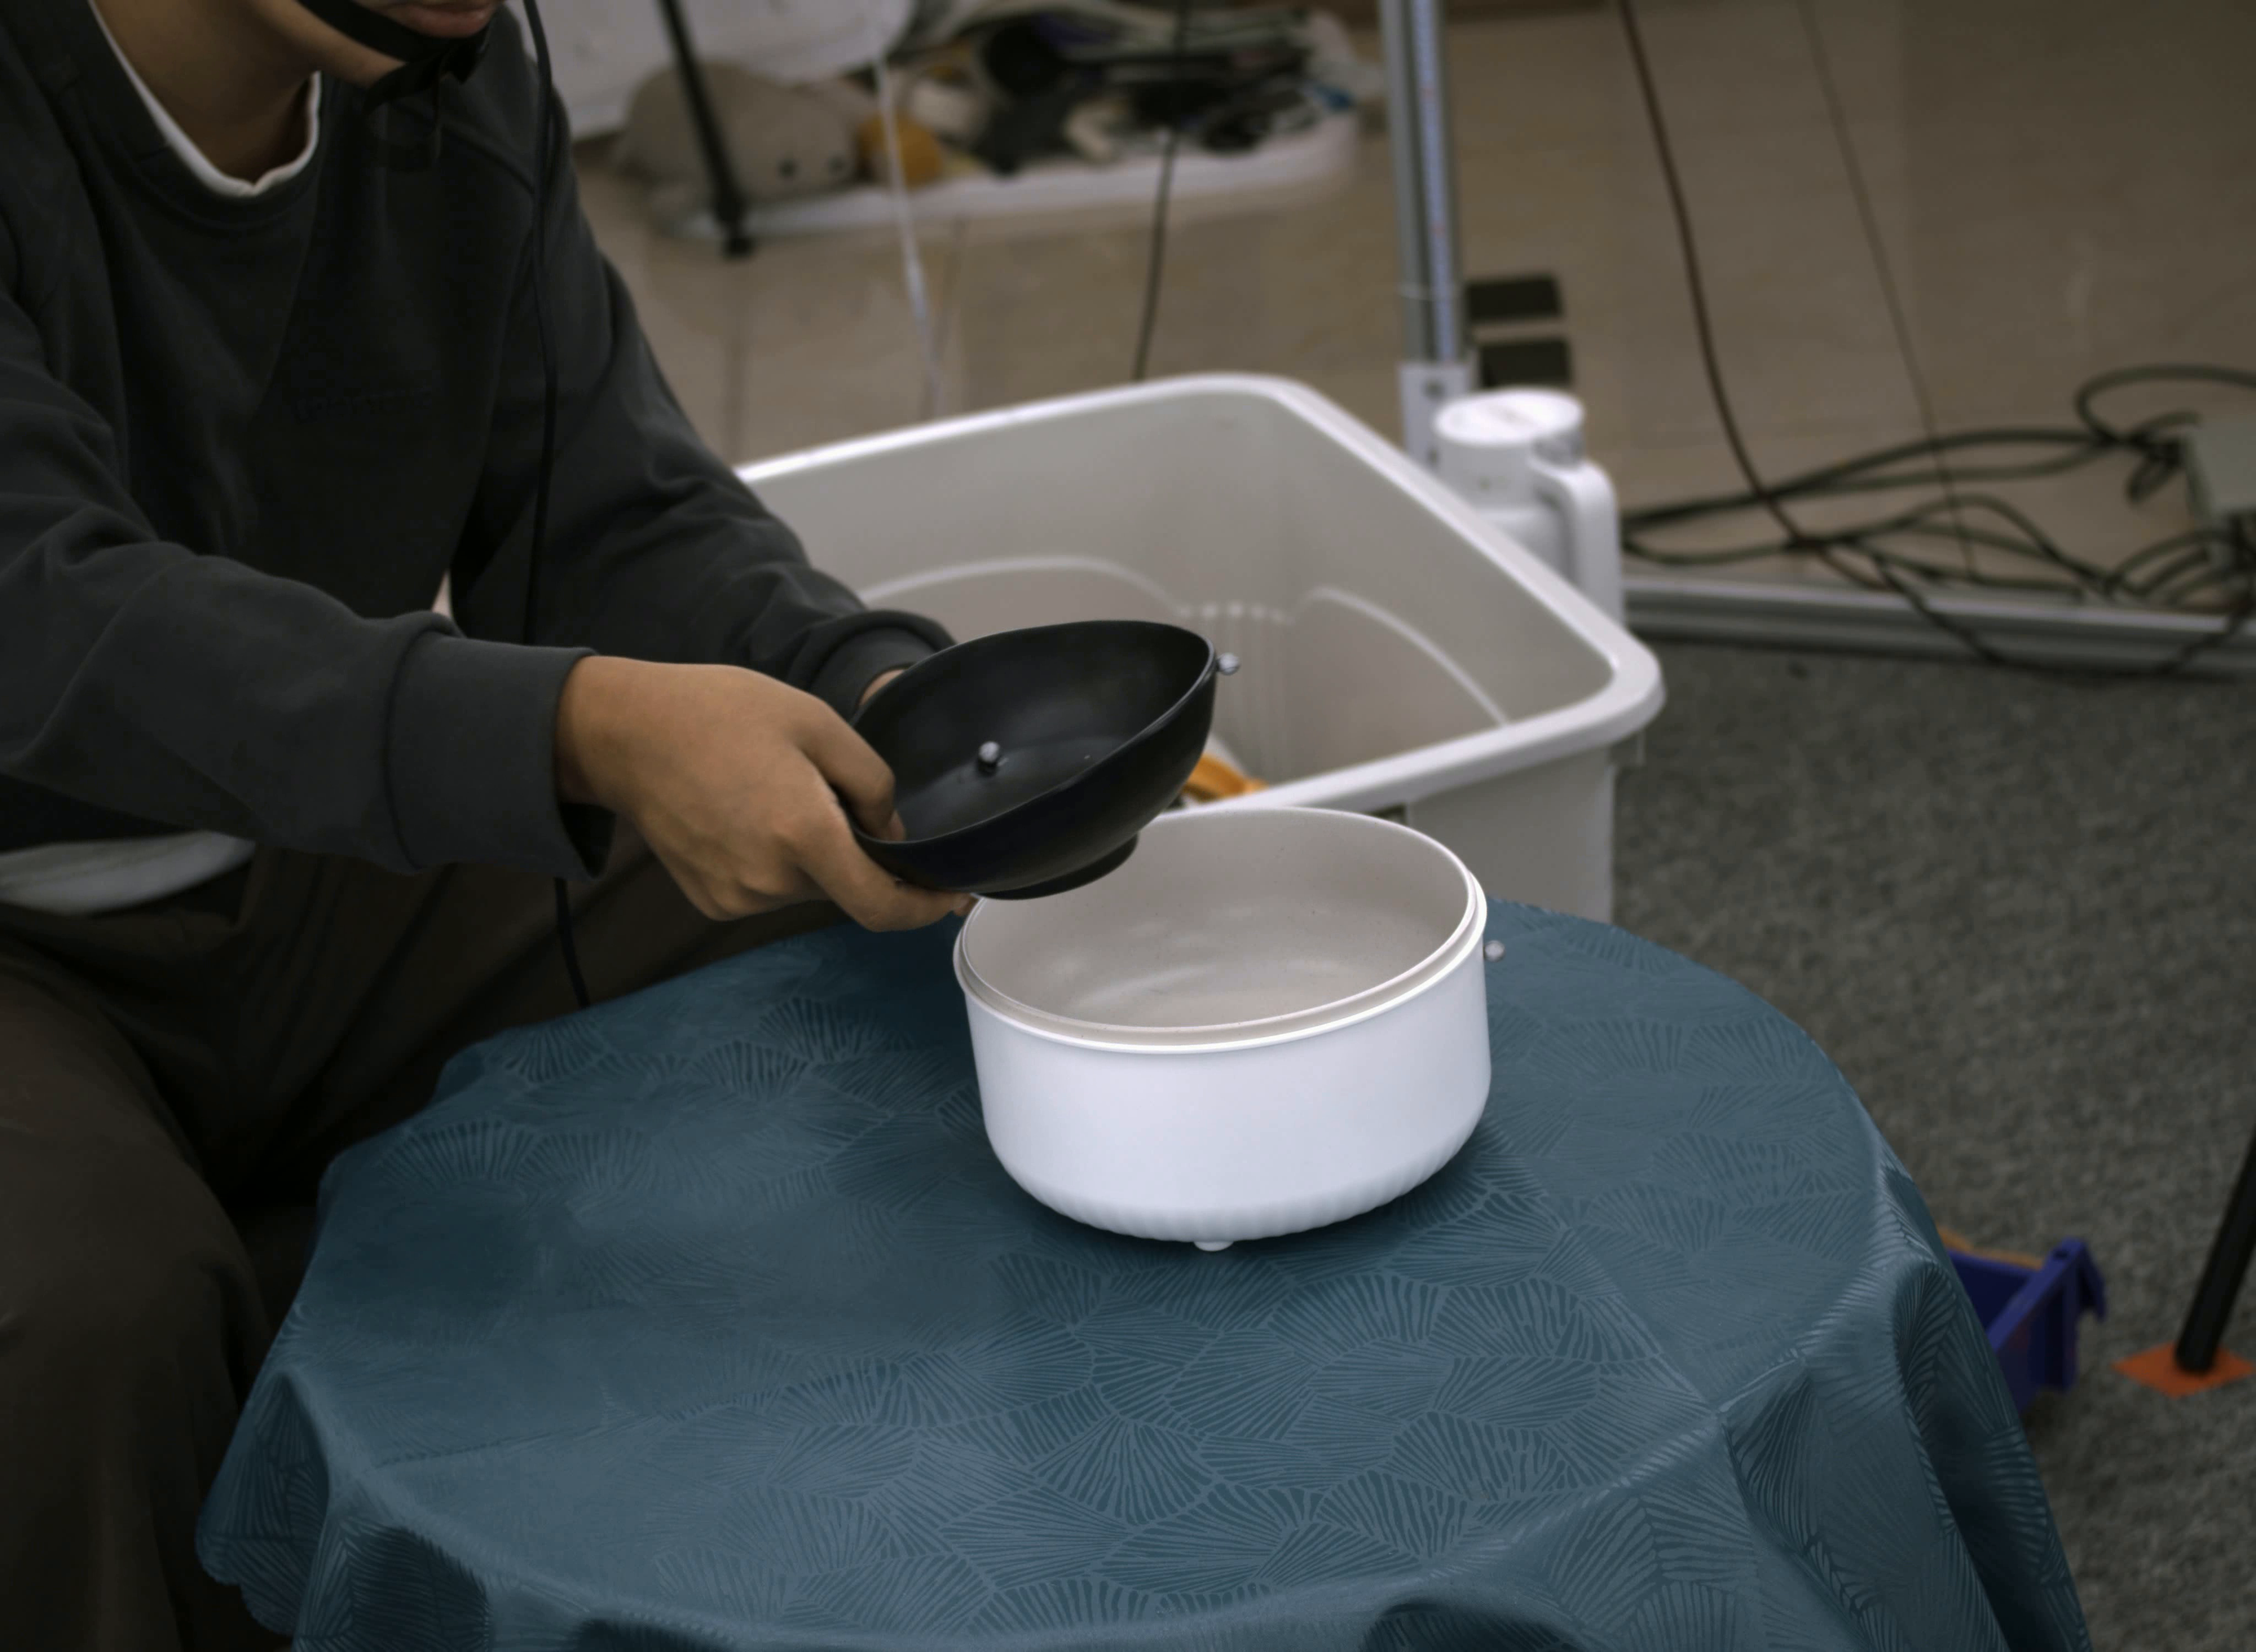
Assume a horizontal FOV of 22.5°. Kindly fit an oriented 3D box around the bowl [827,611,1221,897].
[{"bbox_3d":[-0.033,-0.018,2.093,0.137,0.068,0.168,6,32,36],"label":"bowl"}]

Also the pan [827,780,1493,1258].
[{"bbox_3d":[-0.004,0.063,2.208,0.200,0.103,0.351,-24,27,-29],"label":"pan"}]
